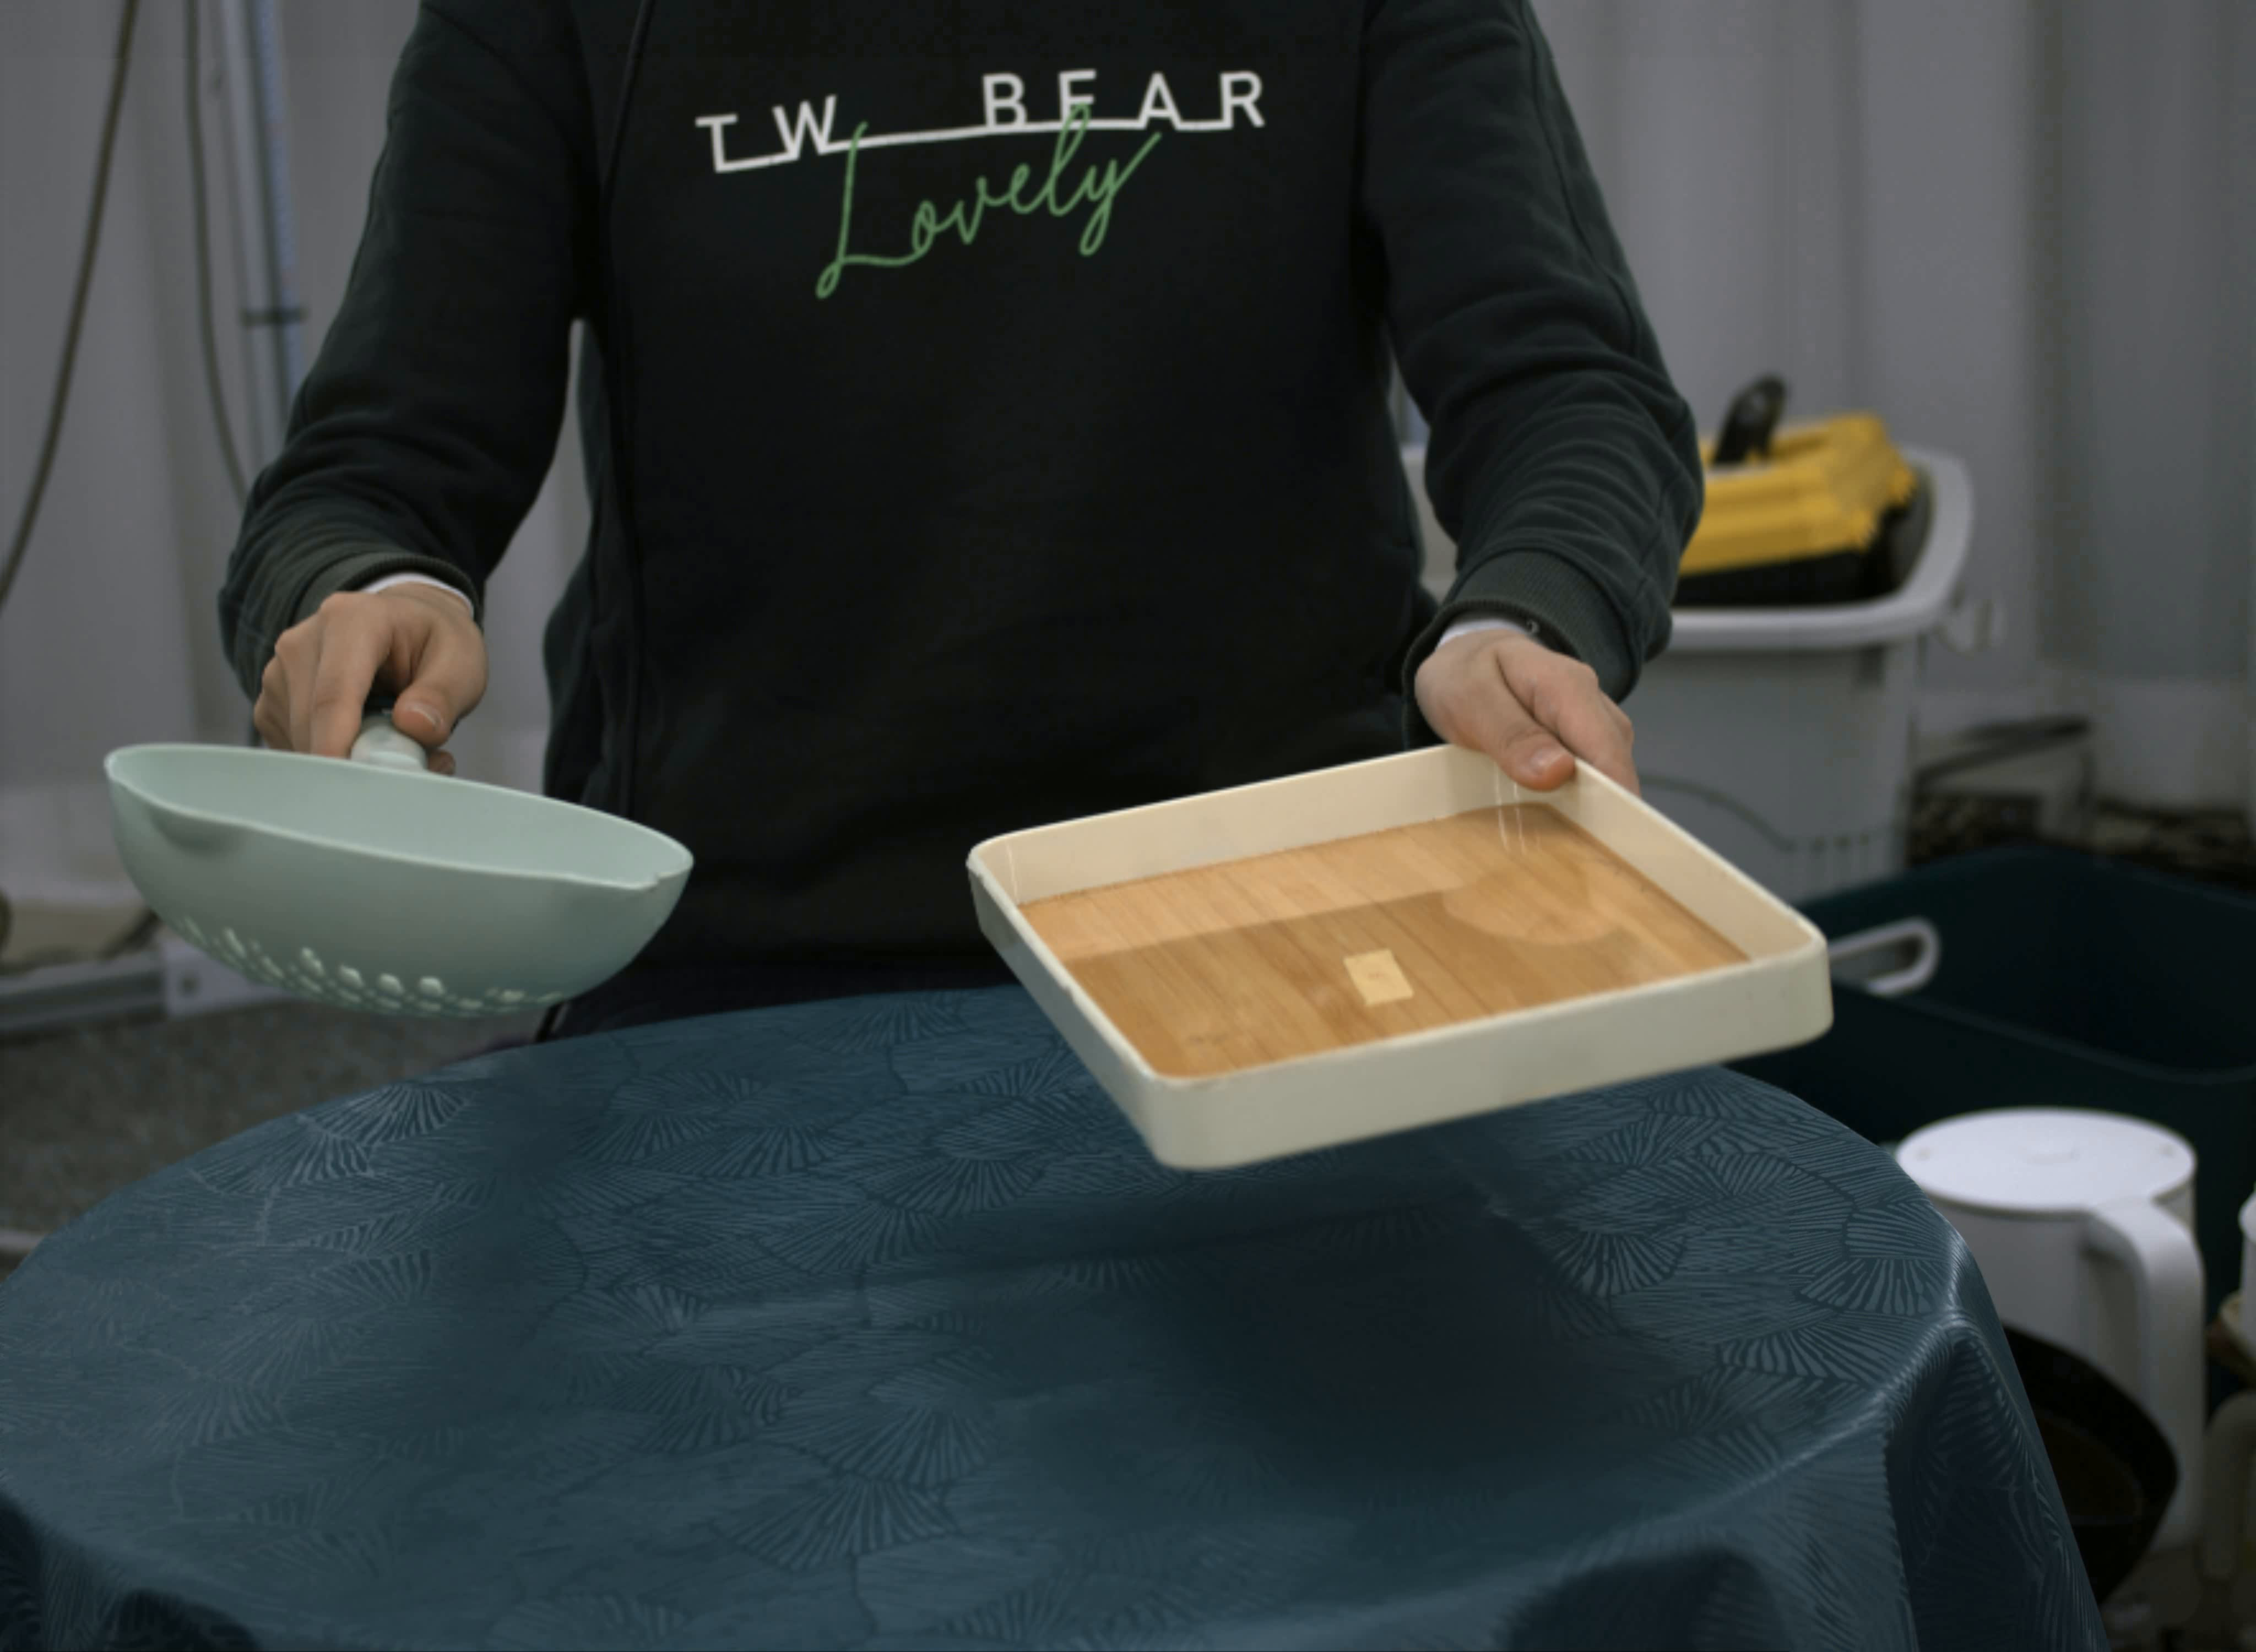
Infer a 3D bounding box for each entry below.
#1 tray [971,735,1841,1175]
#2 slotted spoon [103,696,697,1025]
[{"bbox_3d":[0.071,0.033,1.575,0.191,0.027,0.302,-11,15,-9],"label":"tray"},{"bbox_3d":[-0.222,-0.006,1.650,0.168,0.075,0.362,10,15,-9],"label":"slotted spoon"}]
